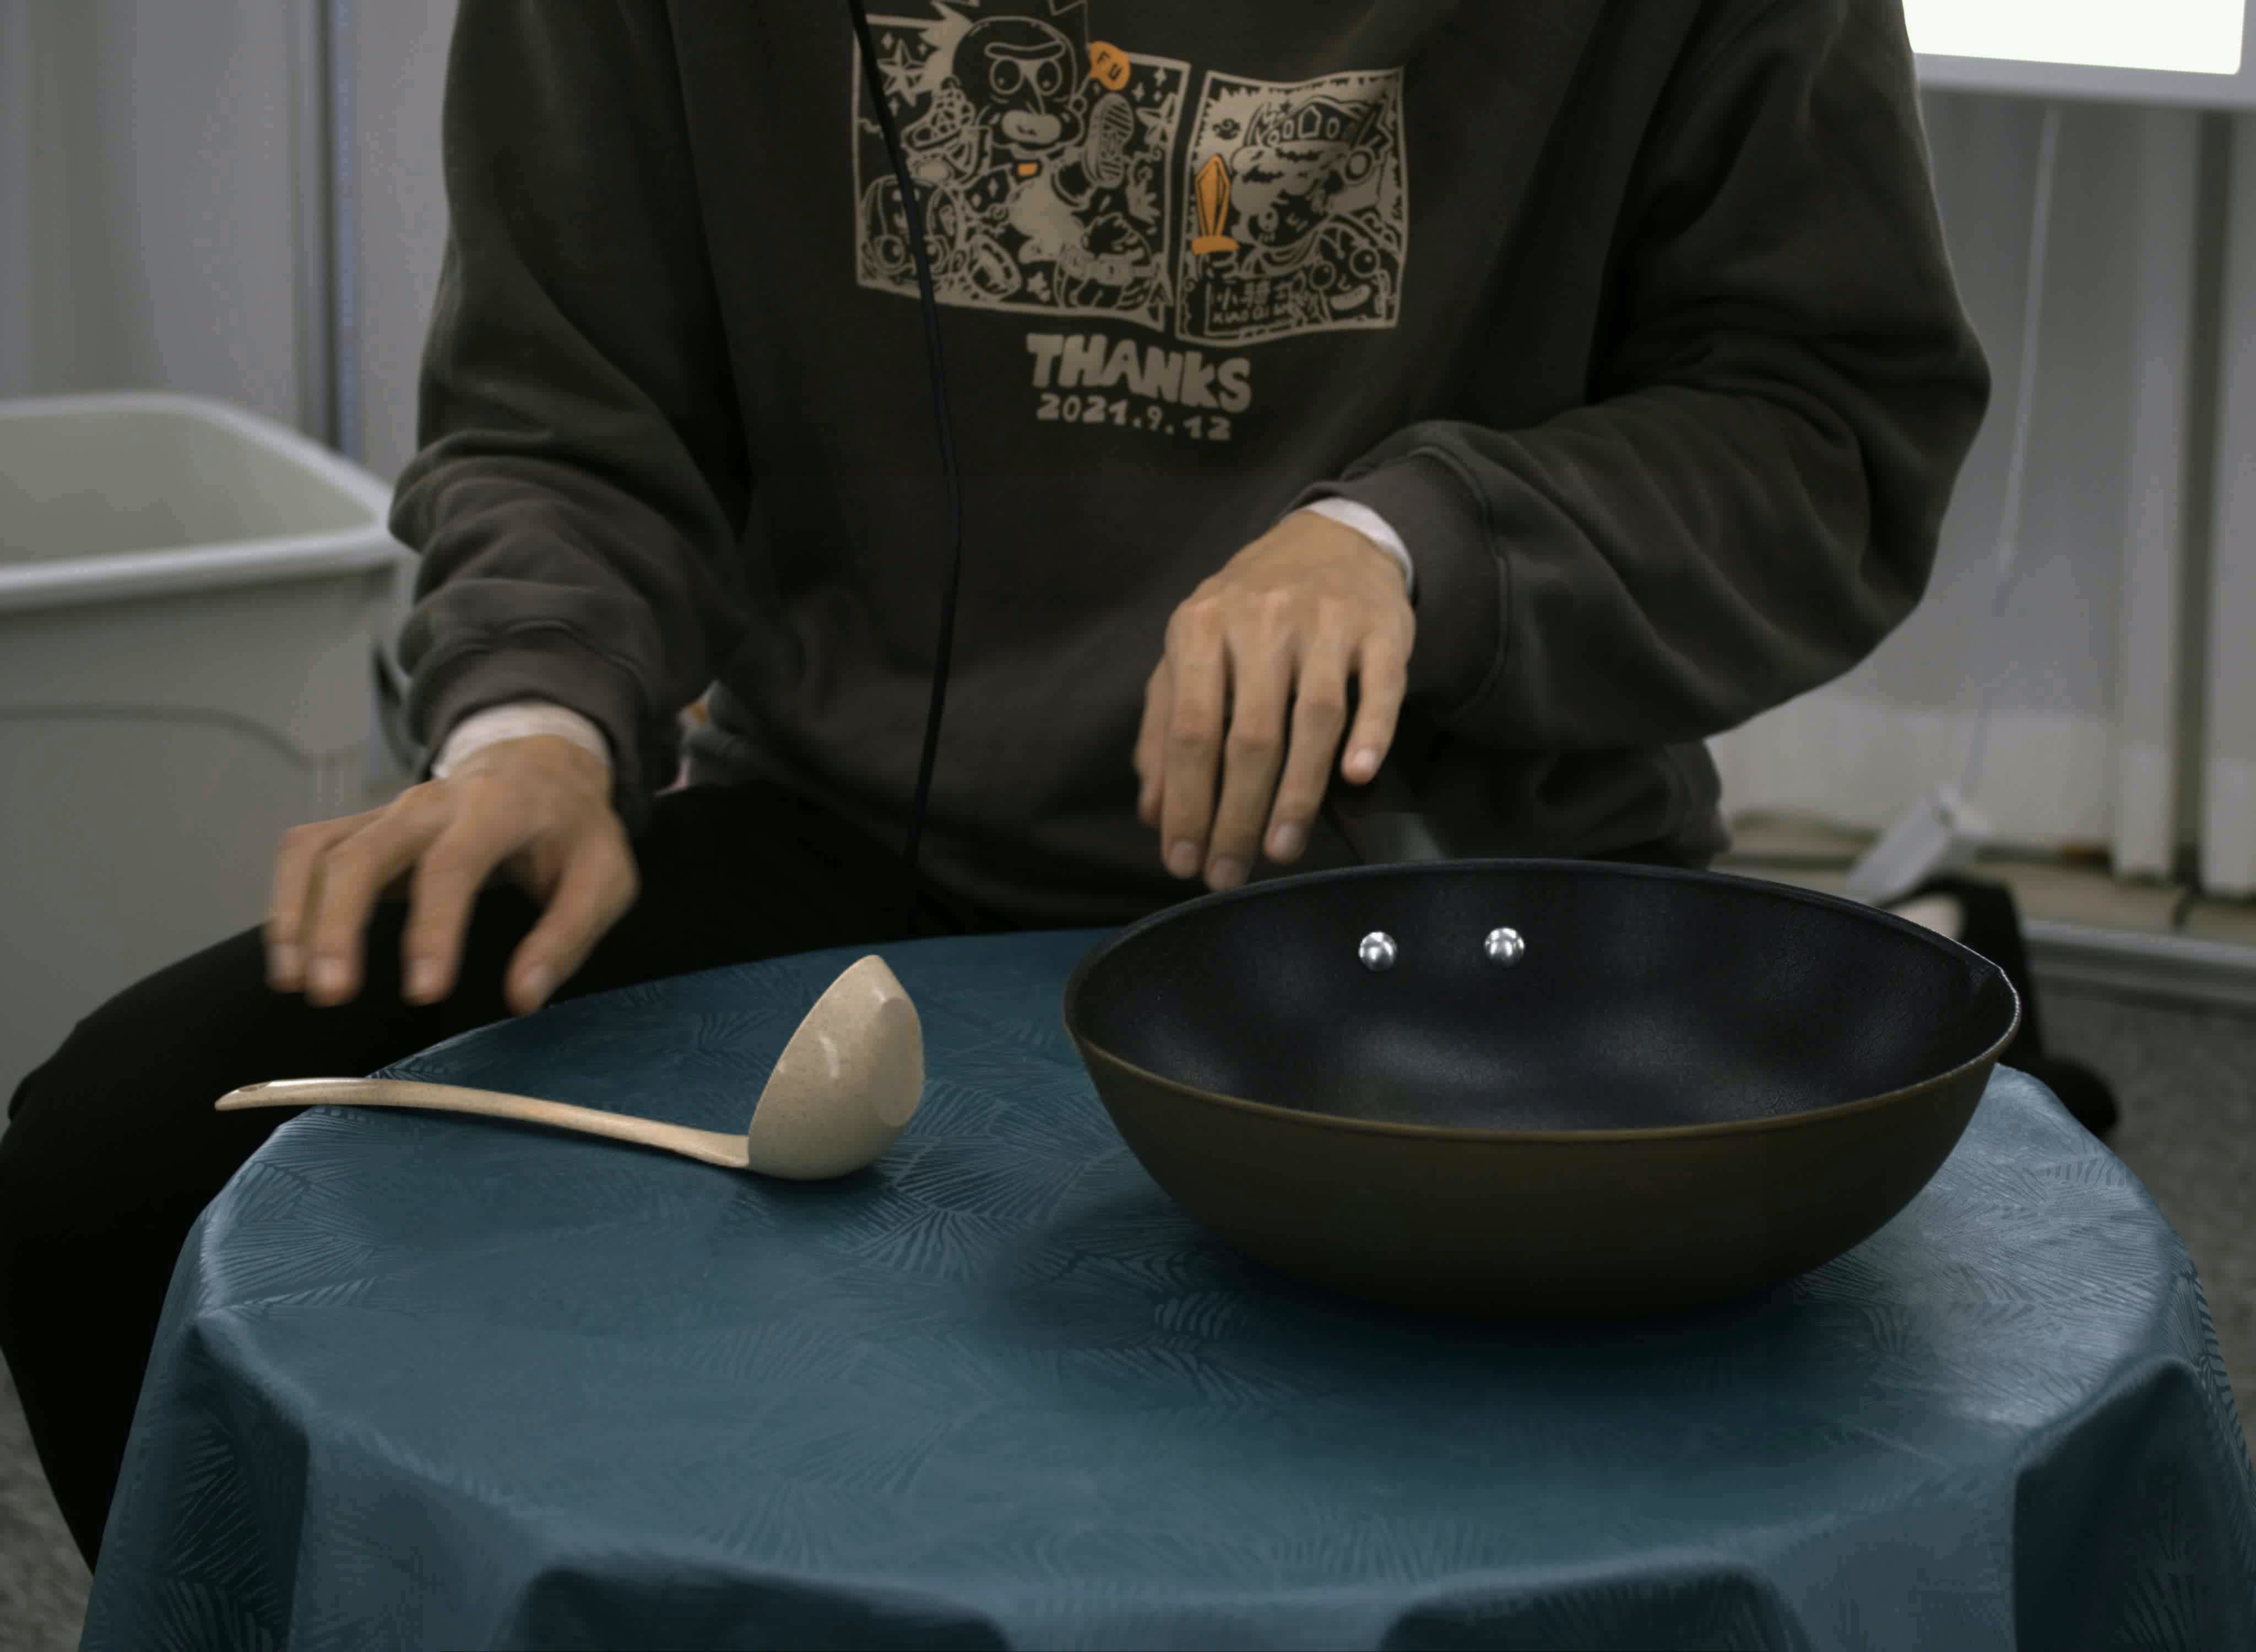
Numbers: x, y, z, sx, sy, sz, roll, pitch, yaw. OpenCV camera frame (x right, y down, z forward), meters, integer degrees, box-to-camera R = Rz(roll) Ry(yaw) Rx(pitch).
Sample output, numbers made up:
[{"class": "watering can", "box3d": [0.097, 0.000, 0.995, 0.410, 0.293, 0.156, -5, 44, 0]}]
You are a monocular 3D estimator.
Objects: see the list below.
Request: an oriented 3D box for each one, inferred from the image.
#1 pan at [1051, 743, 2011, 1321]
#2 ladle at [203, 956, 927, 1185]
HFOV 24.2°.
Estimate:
[{"class": "pan", "box3d": [0.104, 0.062, 1.661, 0.288, 0.087, 0.459, -2, 15, -10]}, {"class": "ladle", "box3d": [-0.186, 0.067, 1.665, 0.252, 0.073, 0.072, 5, 20, 21]}]
